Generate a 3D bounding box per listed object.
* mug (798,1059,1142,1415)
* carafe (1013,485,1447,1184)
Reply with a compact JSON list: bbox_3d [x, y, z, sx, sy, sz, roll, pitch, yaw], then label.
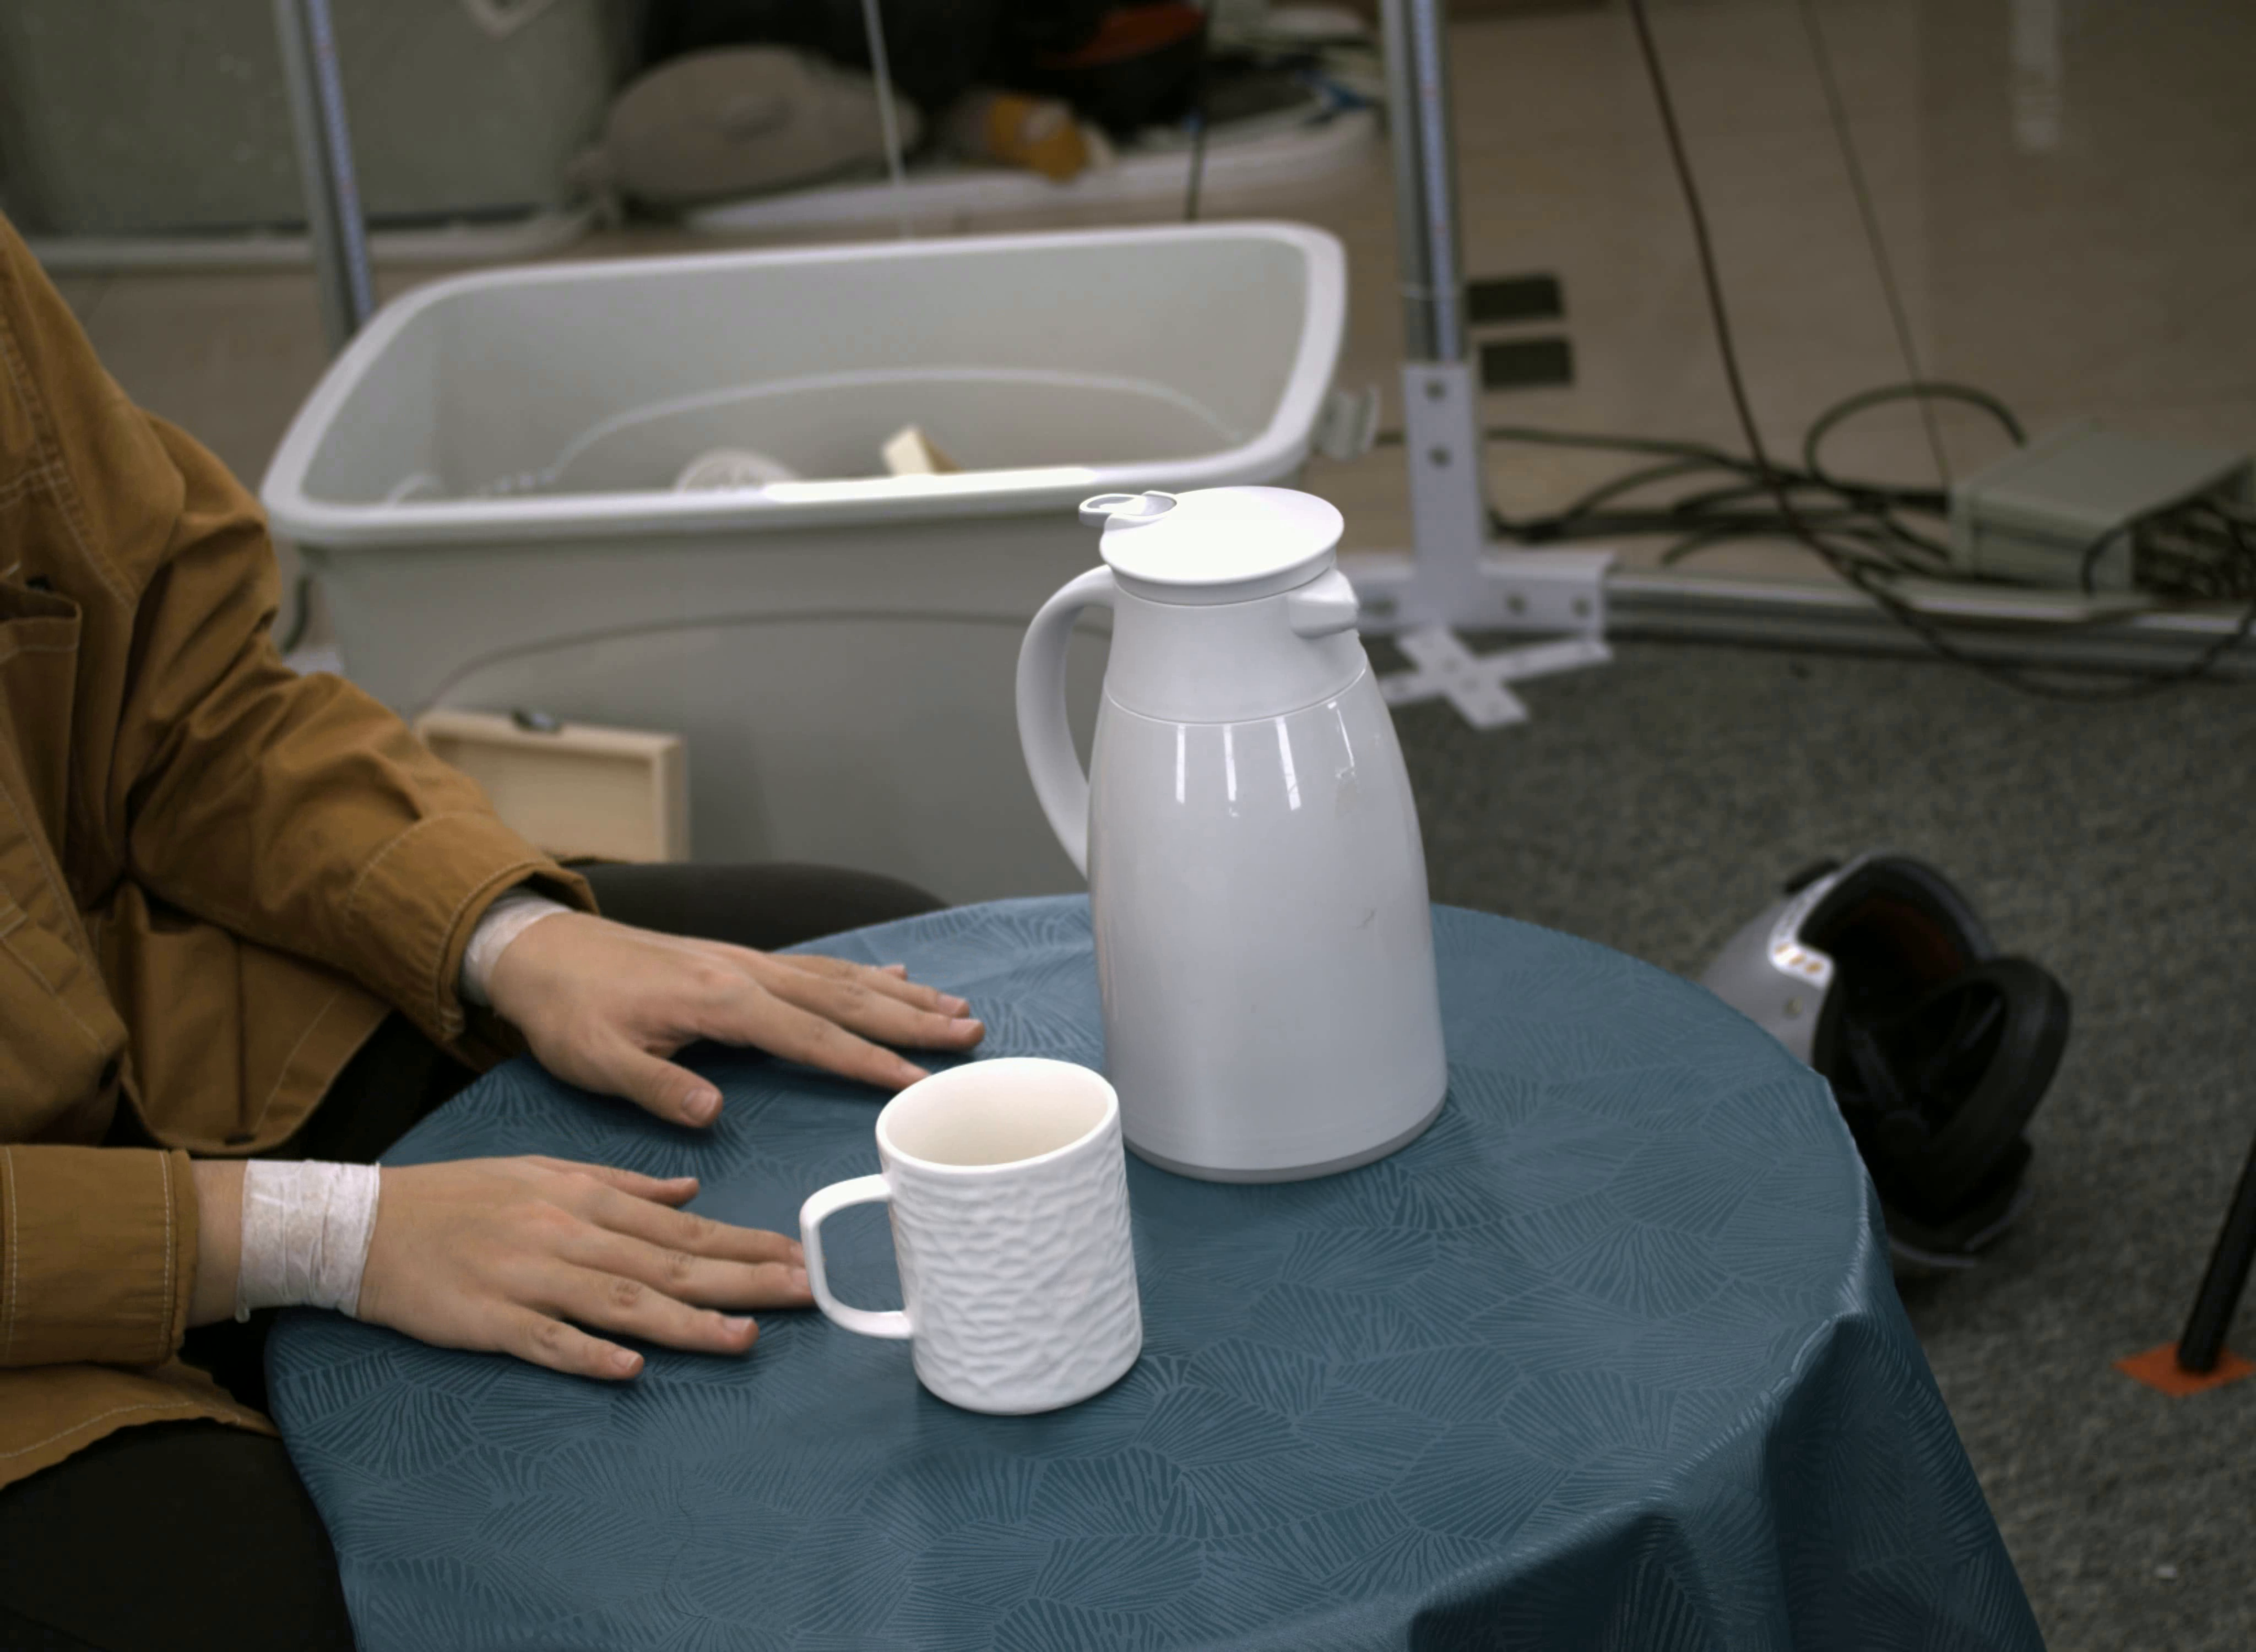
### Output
[{"bbox_3d":[-0.057,0.150,2.018,0.118,0.103,0.084,-13,25,-11],"label":"mug"},{"bbox_3d":[0.030,-0.006,2.156,0.167,0.252,0.131,13,32,35],"label":"carafe"}]
